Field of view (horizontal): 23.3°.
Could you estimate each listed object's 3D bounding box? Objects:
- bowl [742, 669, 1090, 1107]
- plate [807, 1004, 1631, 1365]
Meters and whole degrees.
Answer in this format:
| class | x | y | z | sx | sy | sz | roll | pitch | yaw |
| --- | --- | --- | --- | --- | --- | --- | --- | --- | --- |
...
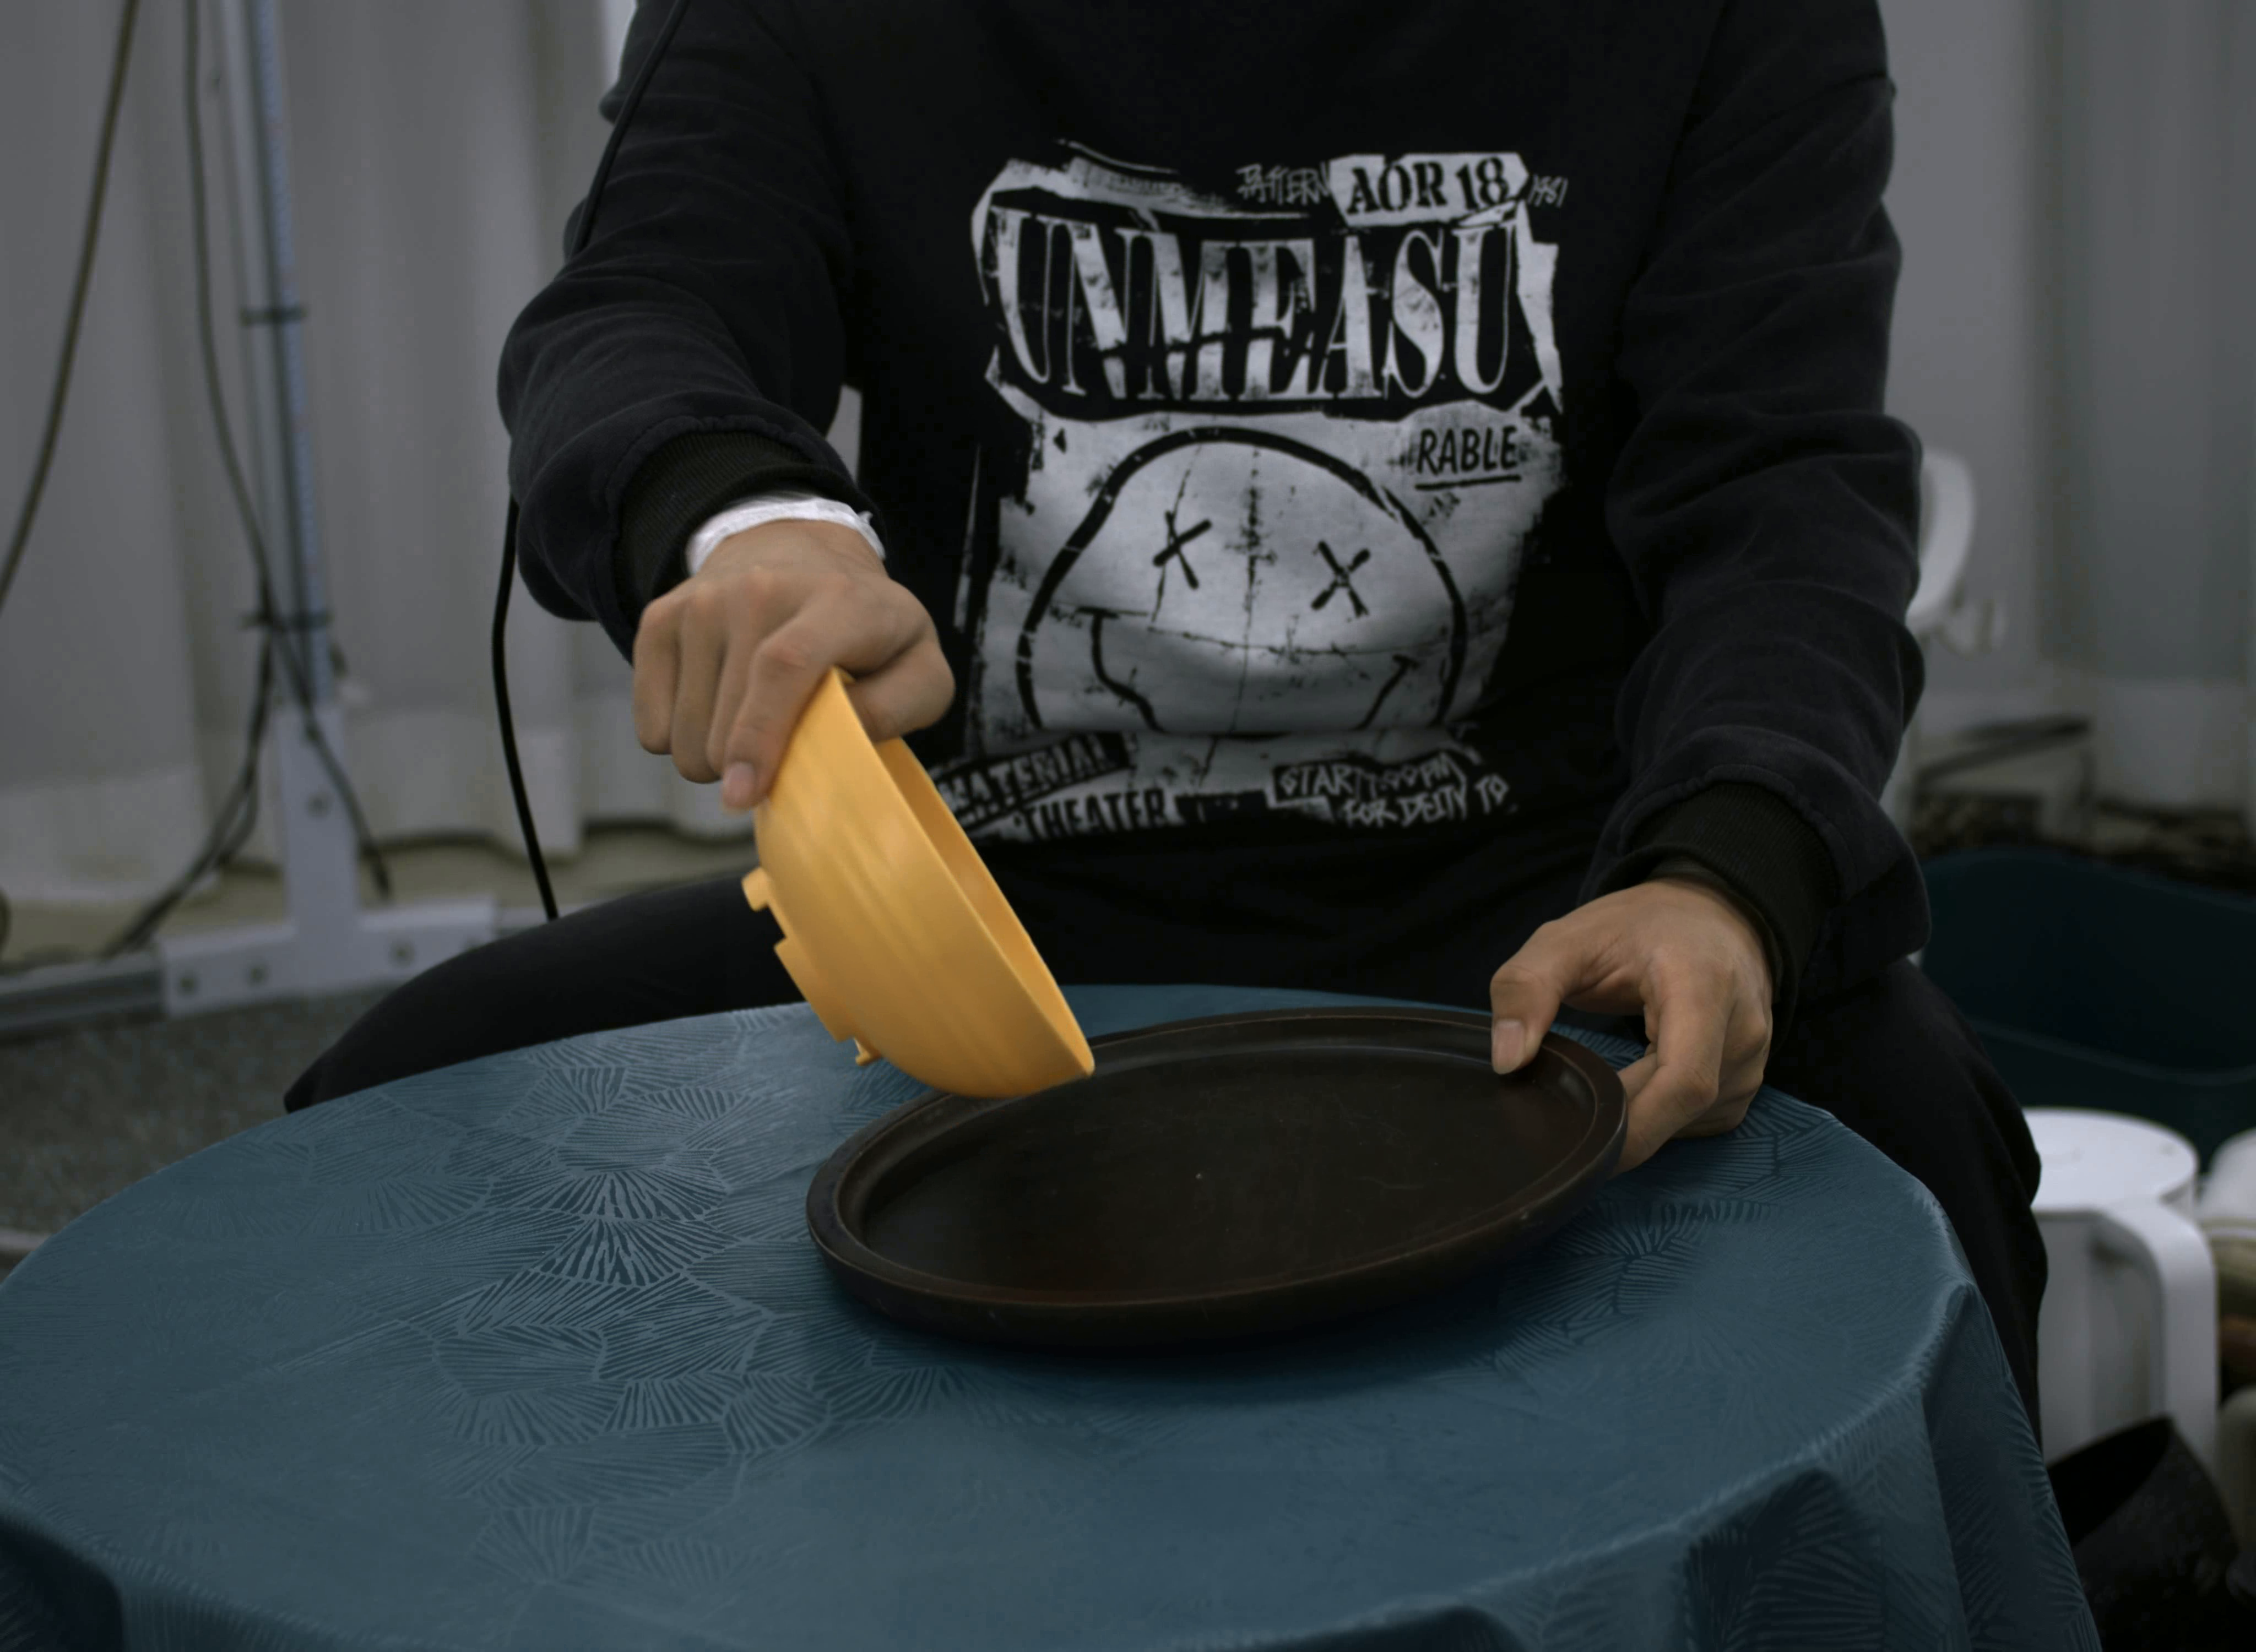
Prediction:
| class | x | y | z | sx | sy | sz | roll | pitch | yaw |
| --- | --- | --- | --- | --- | --- | --- | --- | --- | --- |
| bowl | -0.072 | 0.030 | 1.613 | 0.060 | 0.144 | 0.146 | -31 | 17 | -1 |
| plate | 0.028 | 0.107 | 1.660 | 0.254 | 0.029 | 0.256 | -9 | 15 | 2 |
